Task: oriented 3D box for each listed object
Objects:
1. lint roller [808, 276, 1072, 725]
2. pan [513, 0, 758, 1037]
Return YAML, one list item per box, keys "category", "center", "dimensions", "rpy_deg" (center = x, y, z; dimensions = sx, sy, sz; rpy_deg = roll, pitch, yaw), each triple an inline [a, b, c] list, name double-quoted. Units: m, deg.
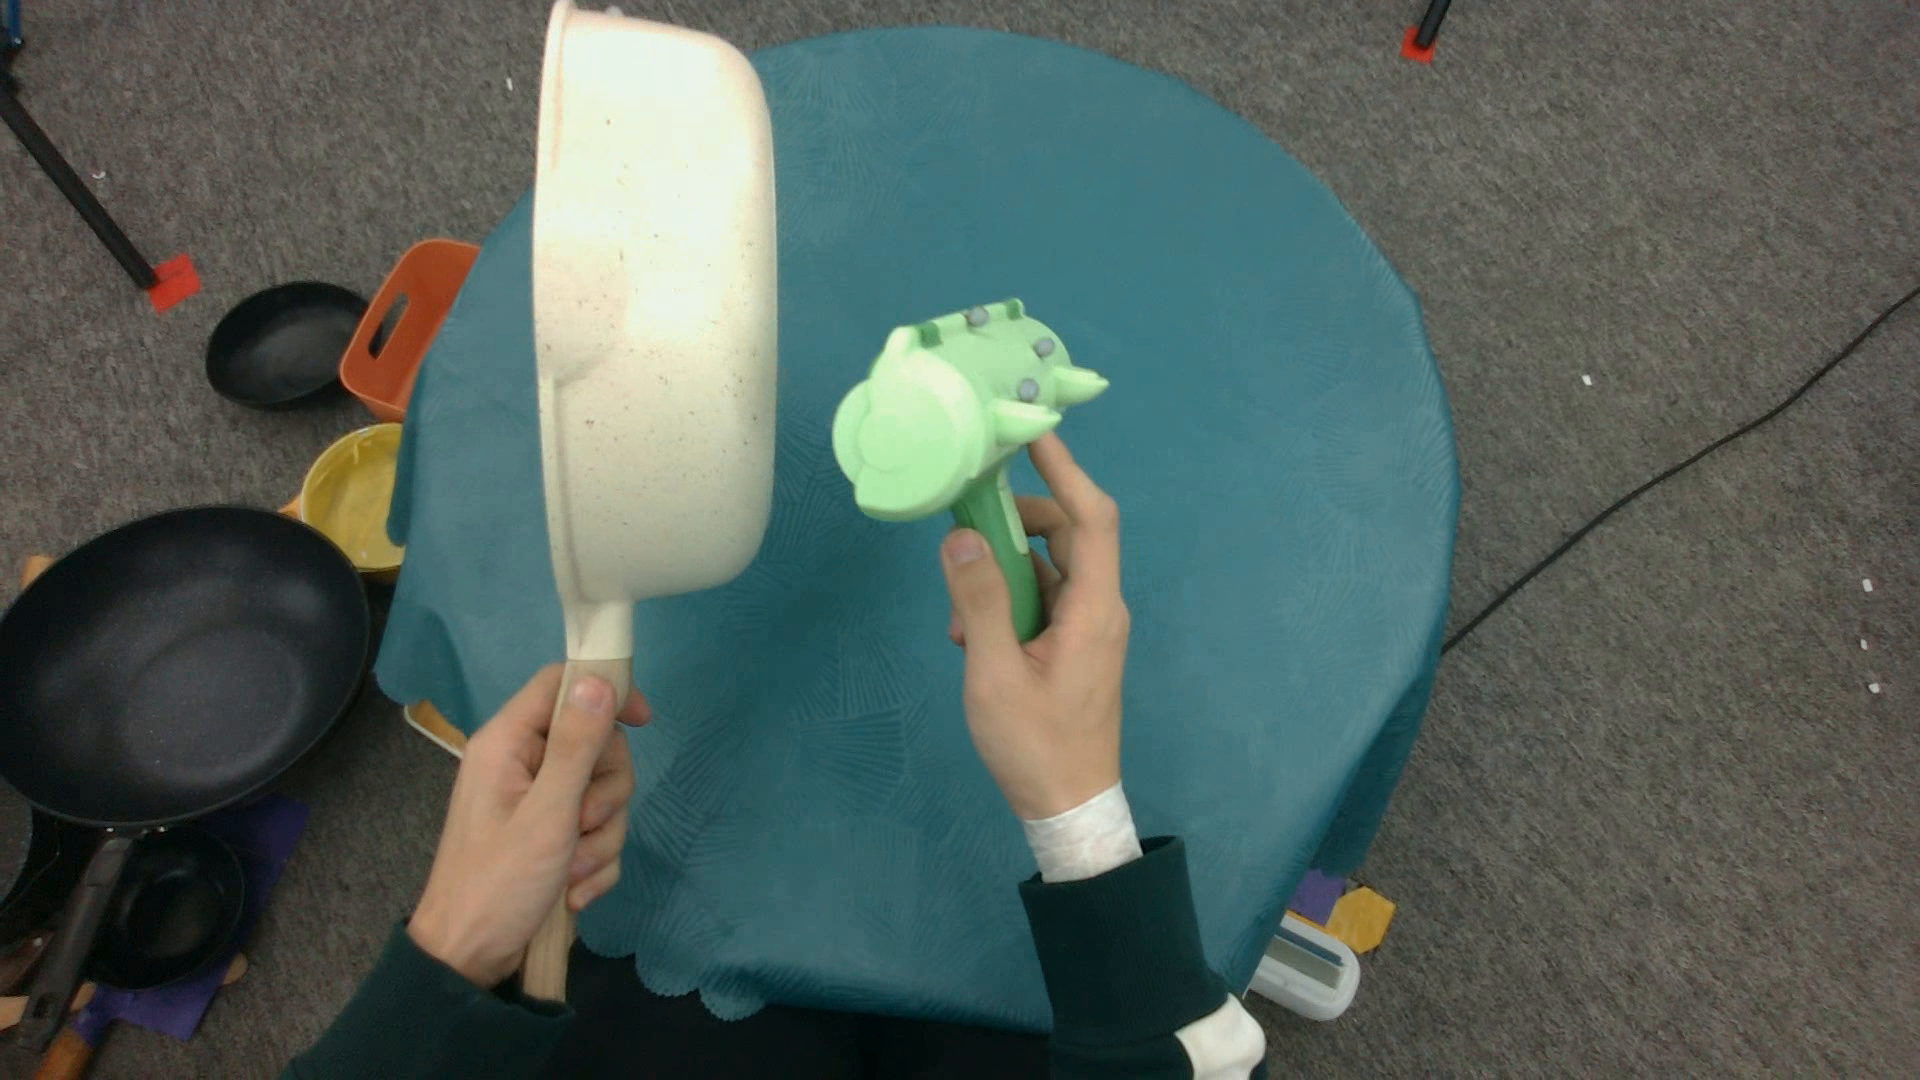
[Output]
- category: "lint roller"
  center: [0.016, -0.016, 0.564]
  dimensions: [0.082, 0.199, 0.183]
  rpy_deg: [-19, 99, 16]
- category: "pan"
  center: [-0.145, -0.008, 0.592]
  dimensions: [0.102, 0.263, 0.434]
  rpy_deg: [-2, 93, -15]
